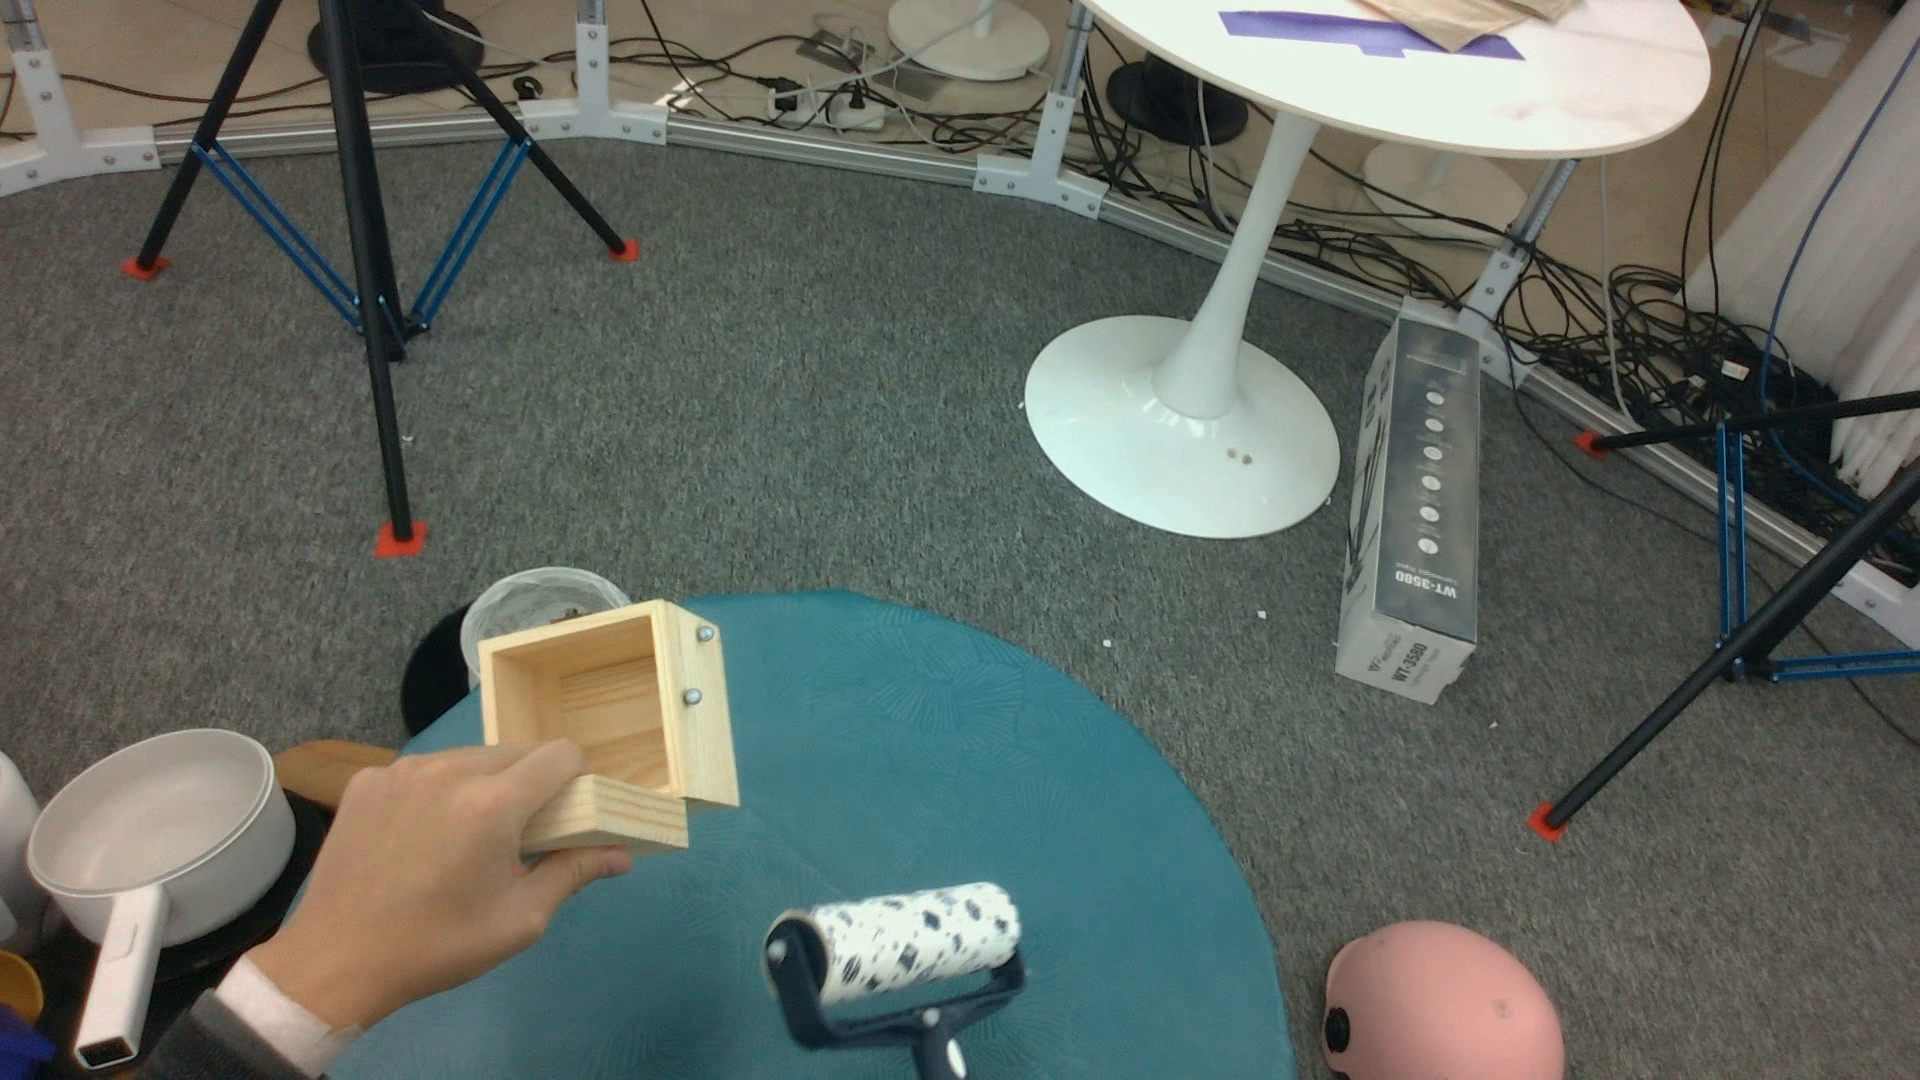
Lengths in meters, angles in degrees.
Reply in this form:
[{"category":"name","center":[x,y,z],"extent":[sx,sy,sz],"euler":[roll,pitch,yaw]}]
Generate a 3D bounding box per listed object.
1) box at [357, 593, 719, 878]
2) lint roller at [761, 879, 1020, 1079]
[{"category":"box","center":[-0.200,0.089,0.673],"extent":[0.102,0.184,0.134],"euler":[-13,72,6]},{"category":"lint roller","center":[0.000,0.292,0.688],"extent":[0.176,0.050,0.247],"euler":[13,48,-54]}]
